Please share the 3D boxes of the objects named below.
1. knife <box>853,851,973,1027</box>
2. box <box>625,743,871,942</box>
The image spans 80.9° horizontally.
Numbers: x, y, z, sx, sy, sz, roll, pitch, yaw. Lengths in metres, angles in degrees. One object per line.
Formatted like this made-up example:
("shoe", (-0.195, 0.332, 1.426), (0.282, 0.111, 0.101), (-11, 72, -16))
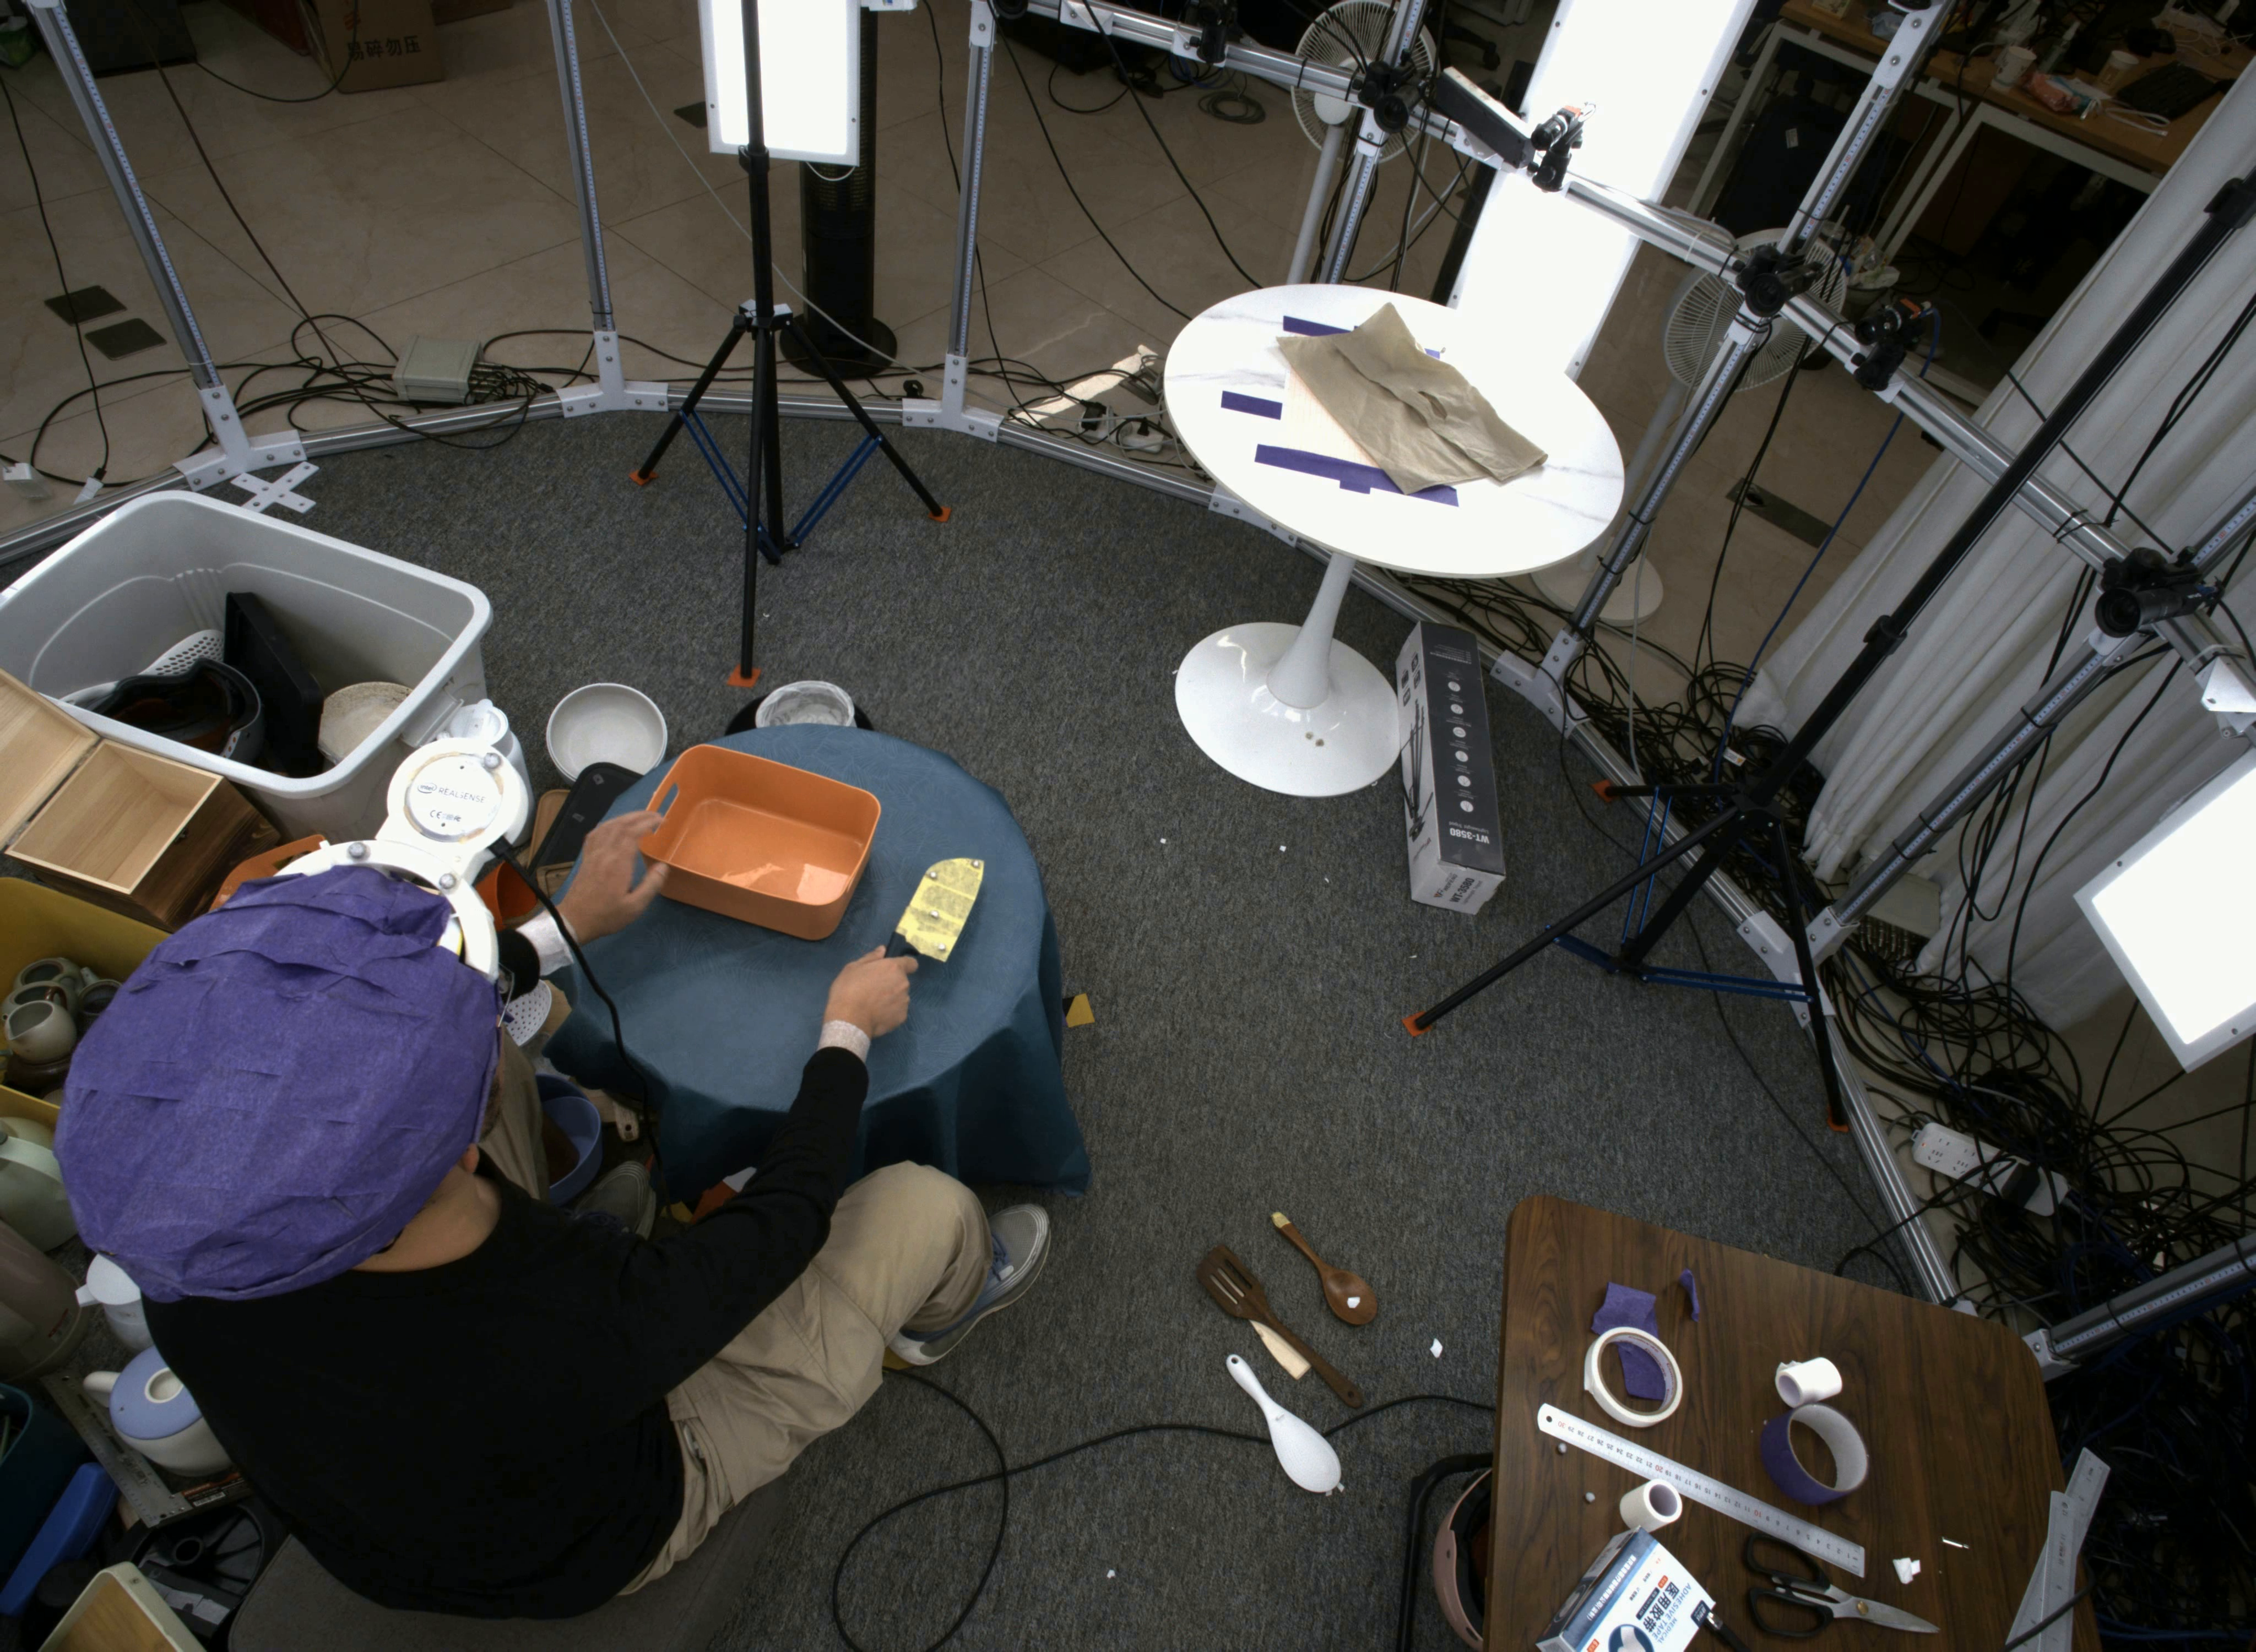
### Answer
("knife", (-0.259, 0.130, 1.593), (0.080, 0.028, 0.286), (23, 49, 1))
("box", (-0.471, 0.024, 1.621), (0.271, 0.104, 0.197), (16, 50, -2))
